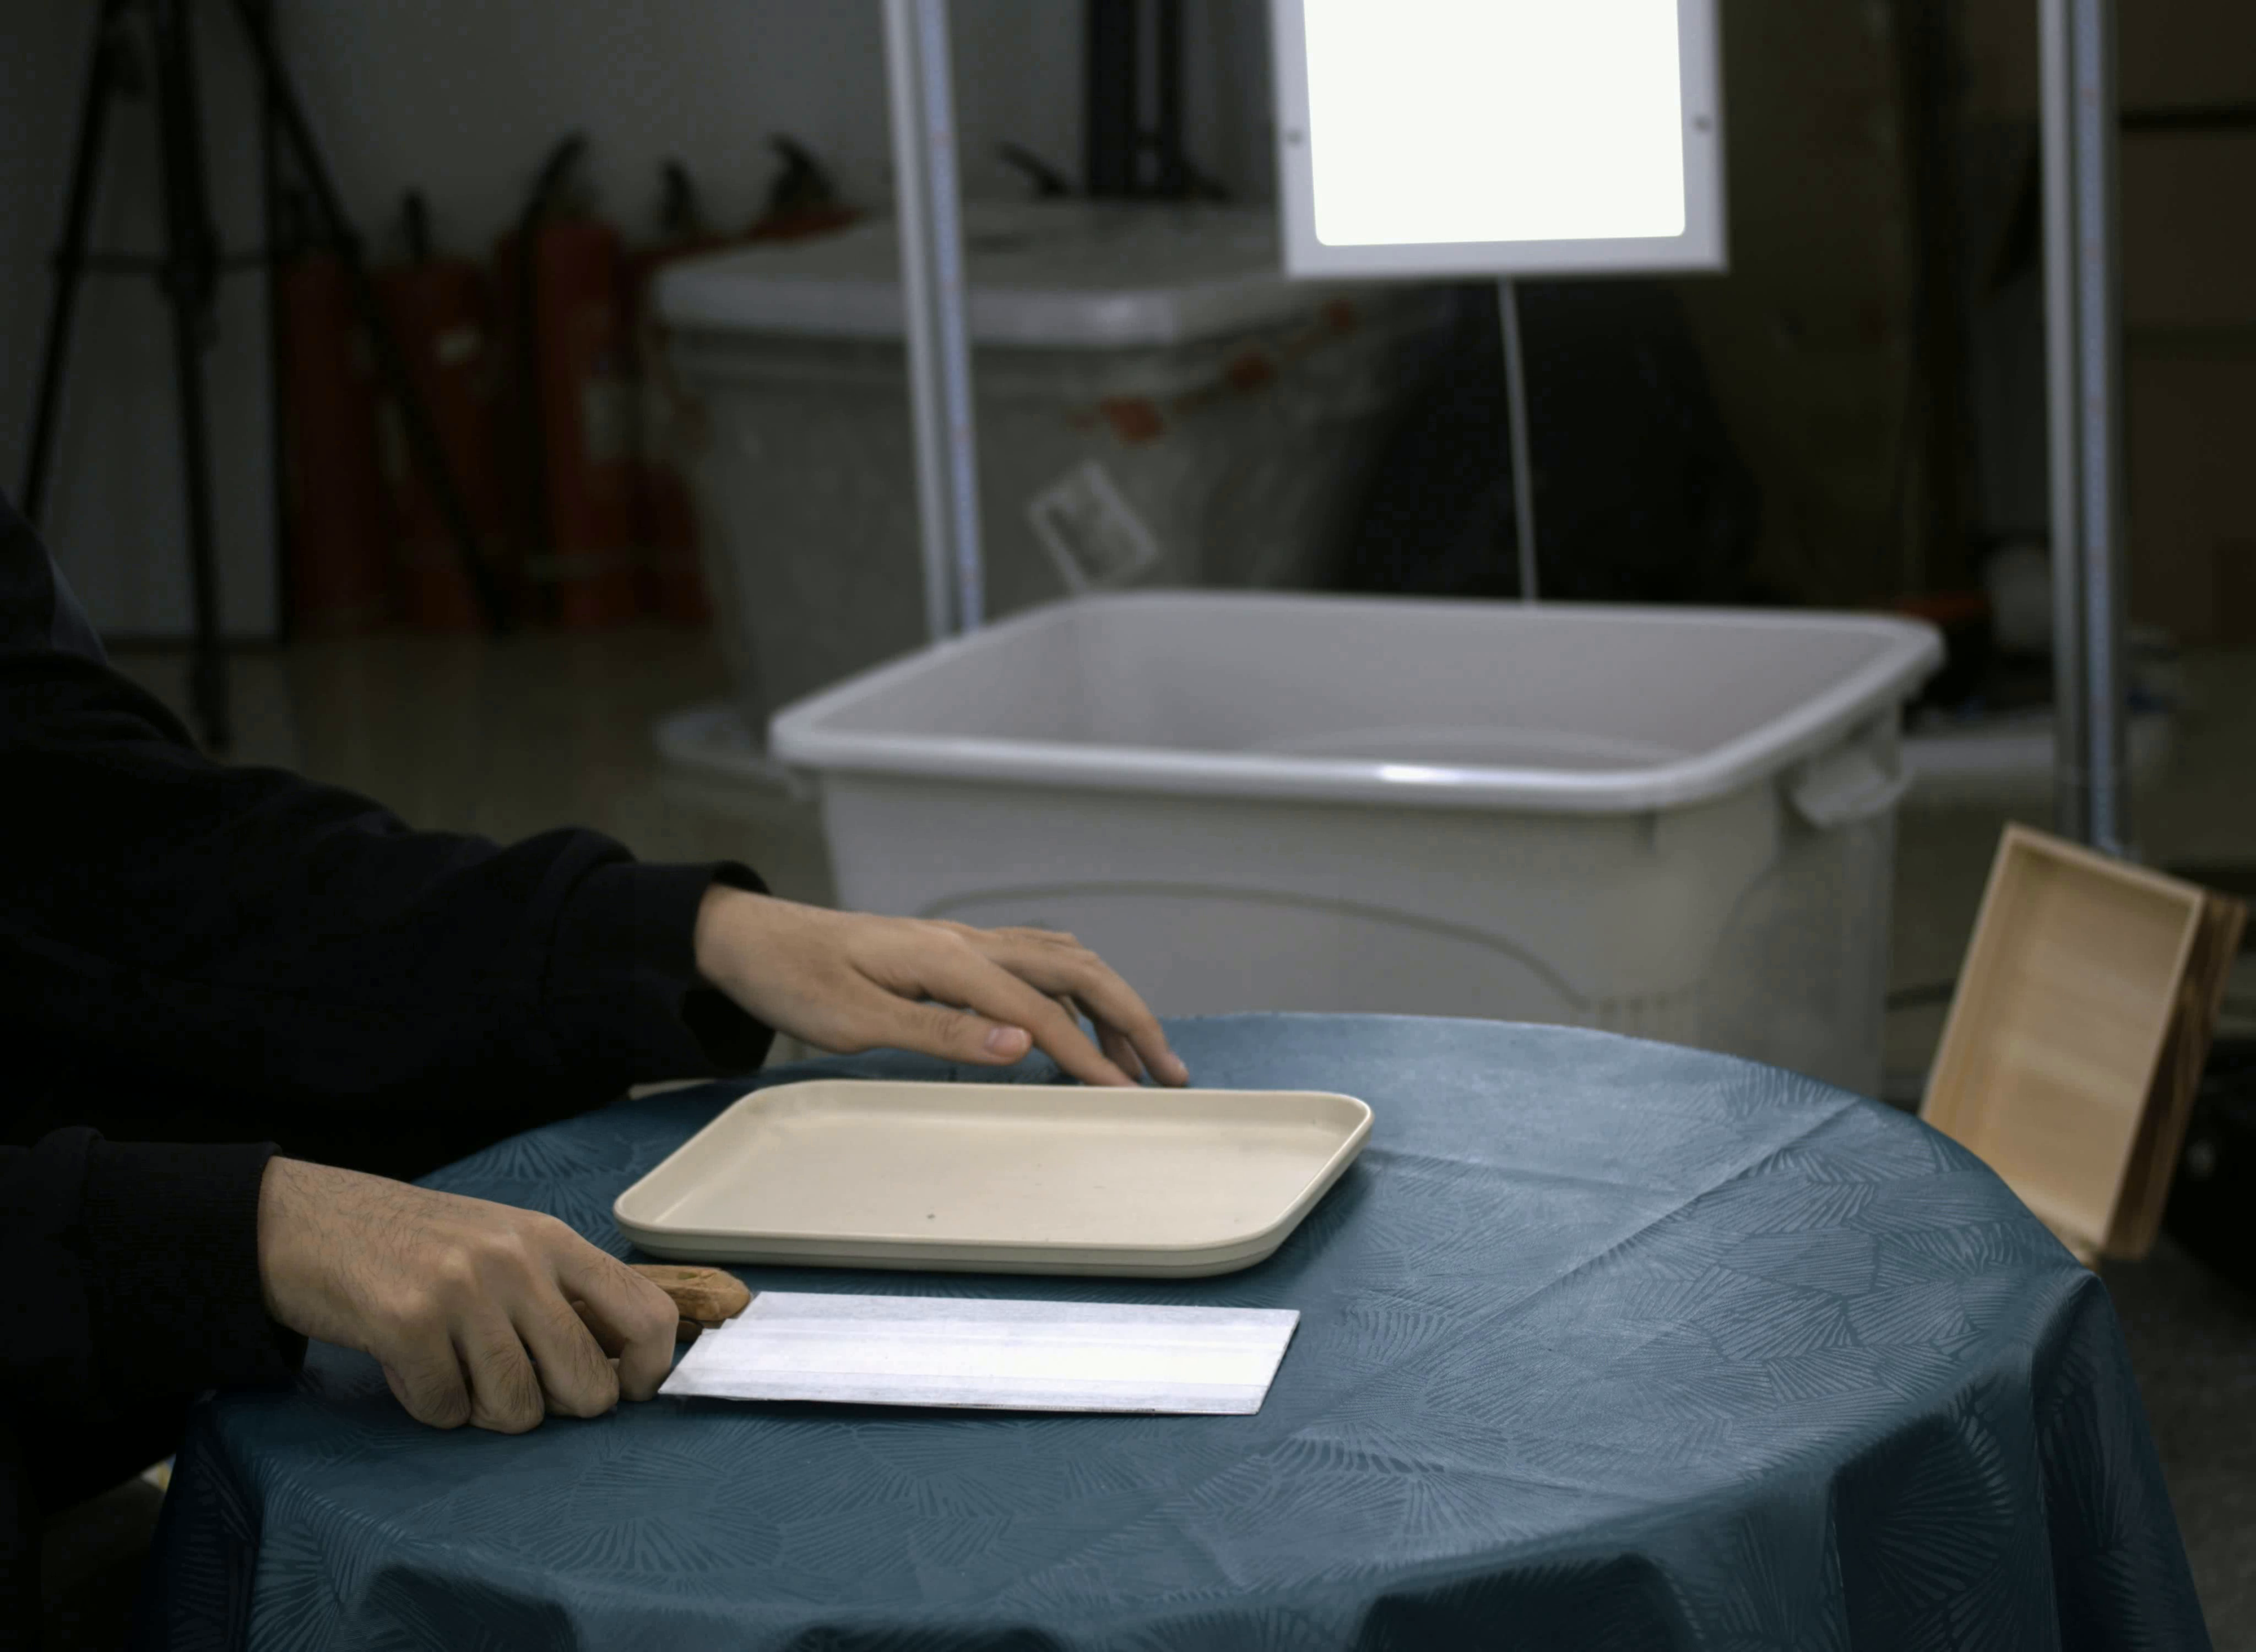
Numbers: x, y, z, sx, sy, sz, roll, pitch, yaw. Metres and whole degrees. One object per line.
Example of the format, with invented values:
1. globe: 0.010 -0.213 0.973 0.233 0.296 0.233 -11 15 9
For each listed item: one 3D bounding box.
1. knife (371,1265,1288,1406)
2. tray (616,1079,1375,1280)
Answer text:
1. knife: -0.101 0.164 1.749 0.308 0.021 0.092 1 16 13
2. tray: -0.044 0.121 1.894 0.243 0.017 0.168 0 16 20
